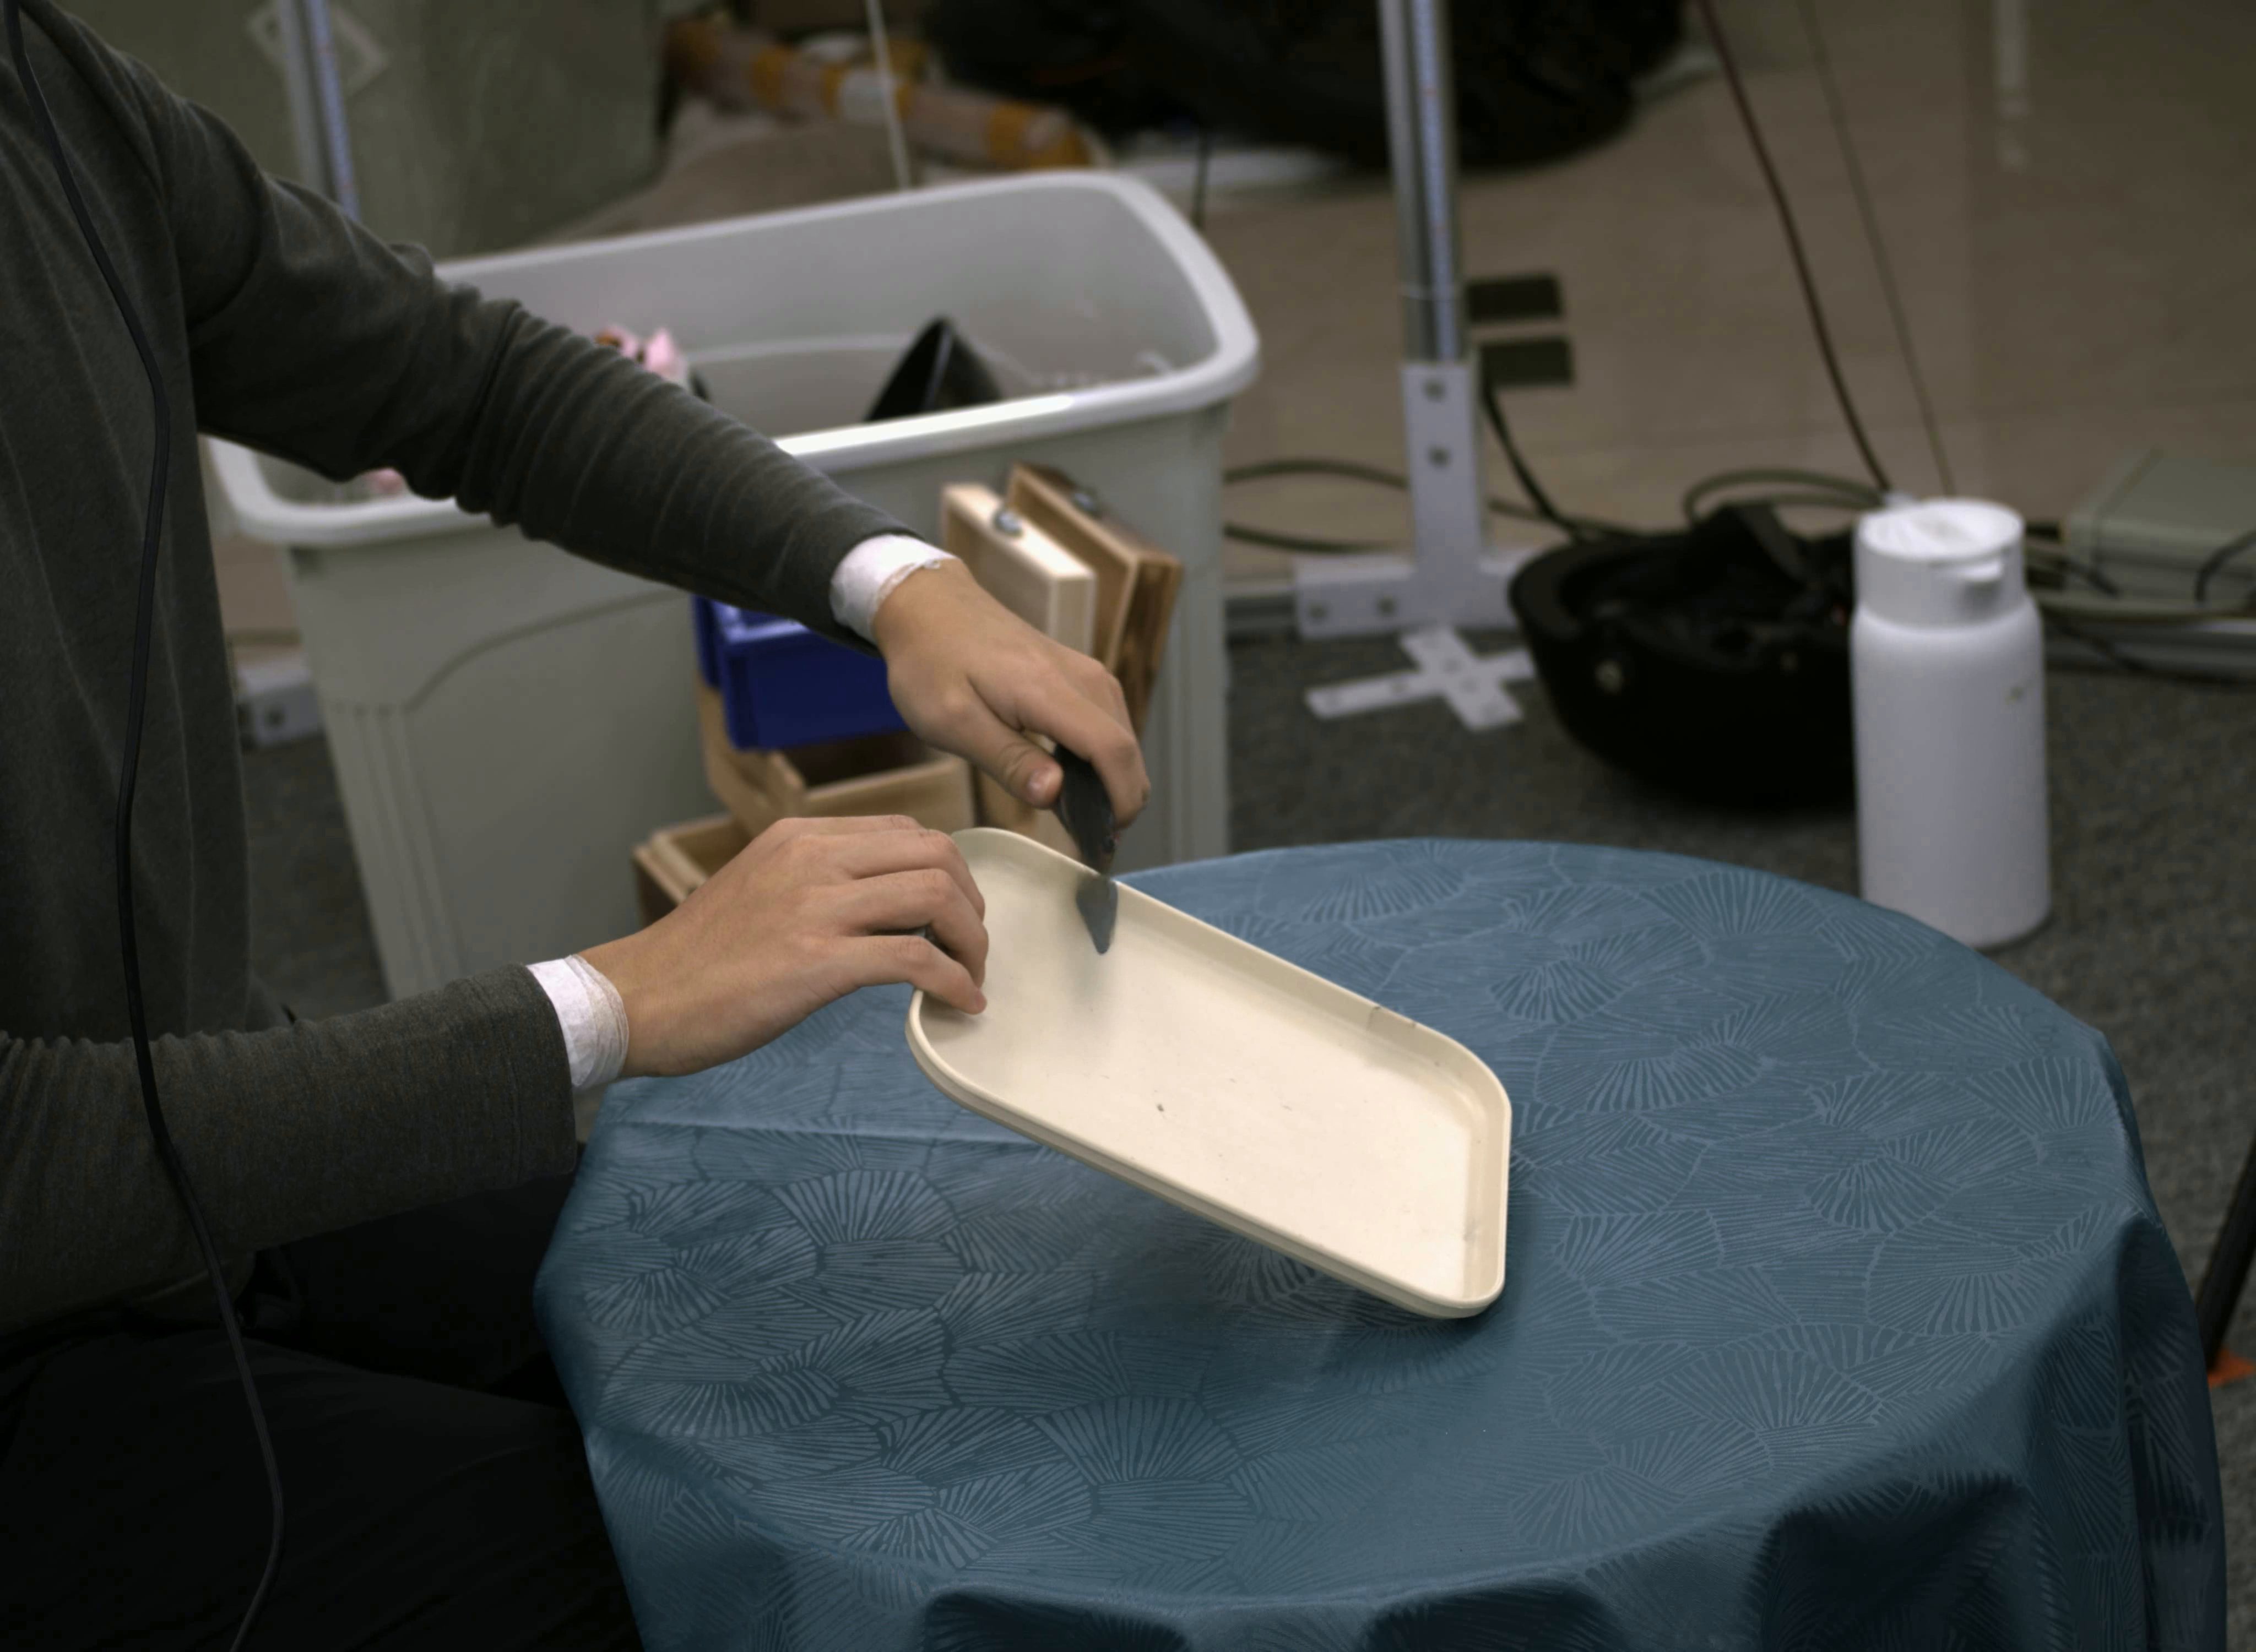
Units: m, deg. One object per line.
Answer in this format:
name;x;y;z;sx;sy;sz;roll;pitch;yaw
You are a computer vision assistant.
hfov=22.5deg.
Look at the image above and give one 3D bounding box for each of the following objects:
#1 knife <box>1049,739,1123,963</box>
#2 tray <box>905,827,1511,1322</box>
knife;-0.017;0.009;2.140;0.024;0.016;0.235;27;15;-12
tray;0.031;0.092;2.072;0.240;0.018;0.168;26;32;-10
